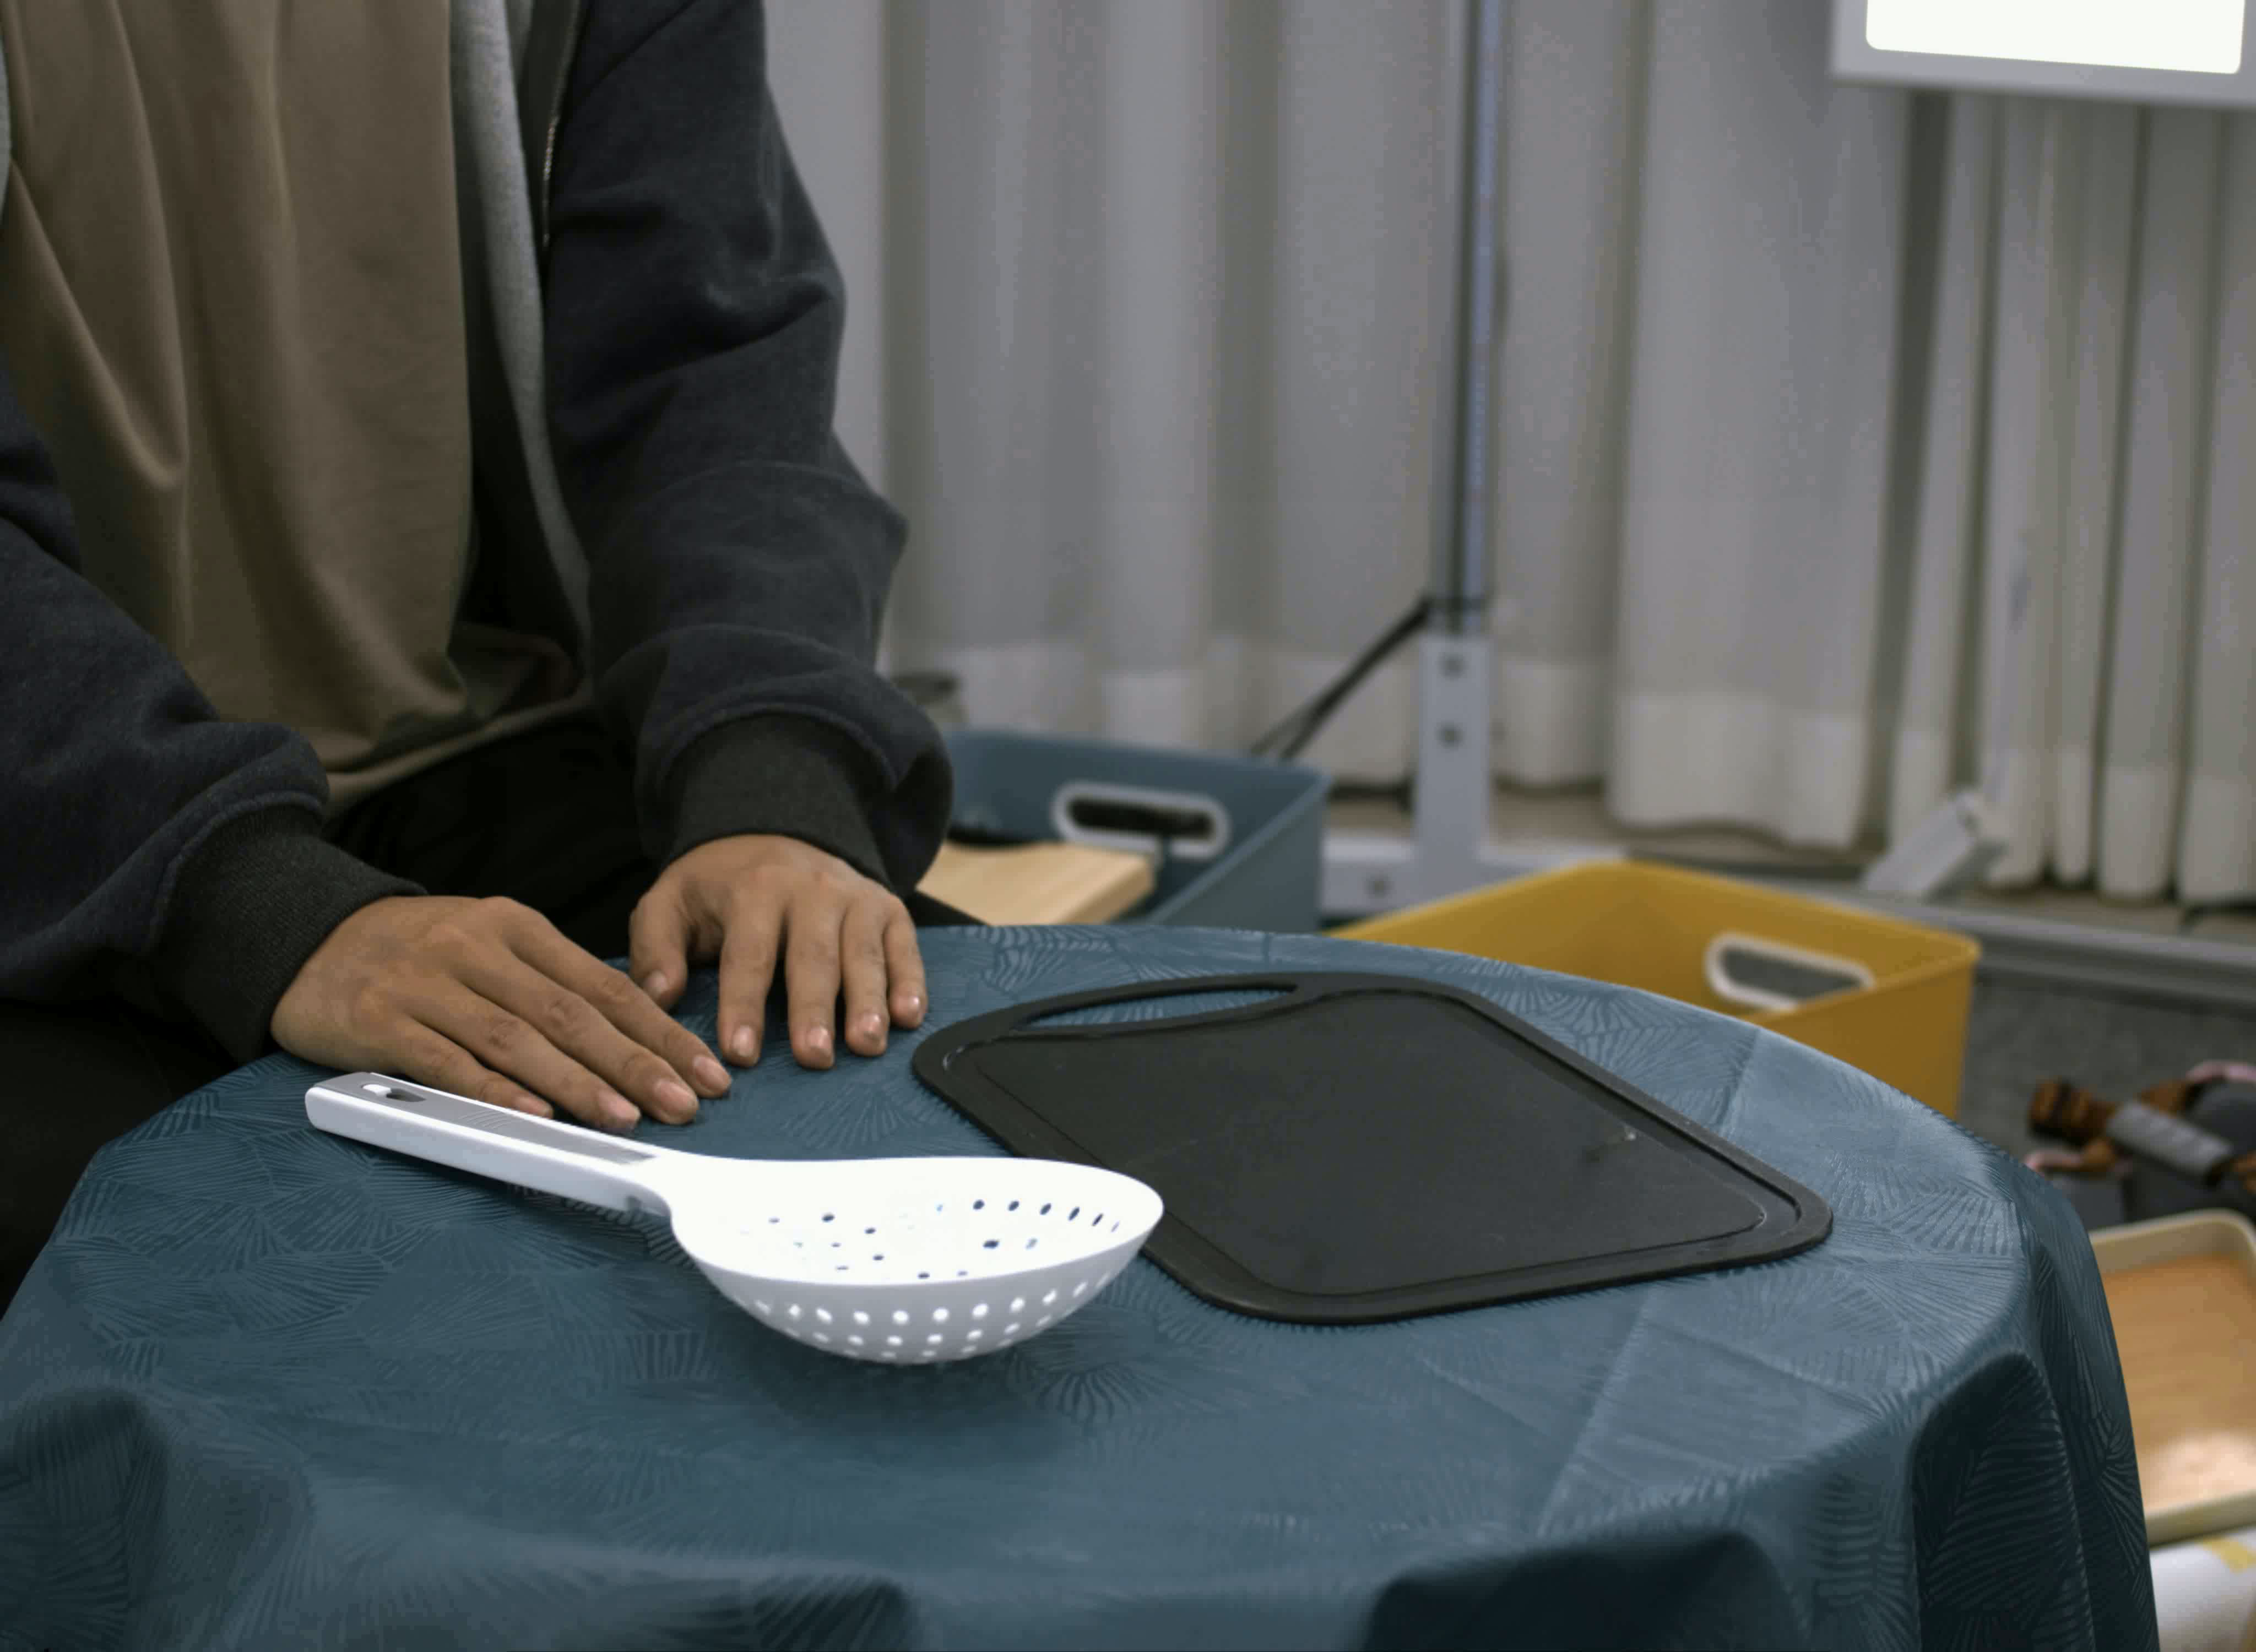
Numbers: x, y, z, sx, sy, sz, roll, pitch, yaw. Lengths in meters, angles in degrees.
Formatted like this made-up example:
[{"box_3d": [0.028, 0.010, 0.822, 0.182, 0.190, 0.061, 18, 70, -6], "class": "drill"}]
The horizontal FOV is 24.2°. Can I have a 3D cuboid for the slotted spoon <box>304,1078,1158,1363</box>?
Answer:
[{"box_3d": [-0.134, 0.106, 1.555, 0.137, 0.046, 0.345, -12, 19, -43], "class": "slotted spoon"}]

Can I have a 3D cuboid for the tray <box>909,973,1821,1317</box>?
[{"box_3d": [0.065, 0.094, 1.679, 0.212, 0.010, 0.321, -6, 17, -23], "class": "tray"}]
